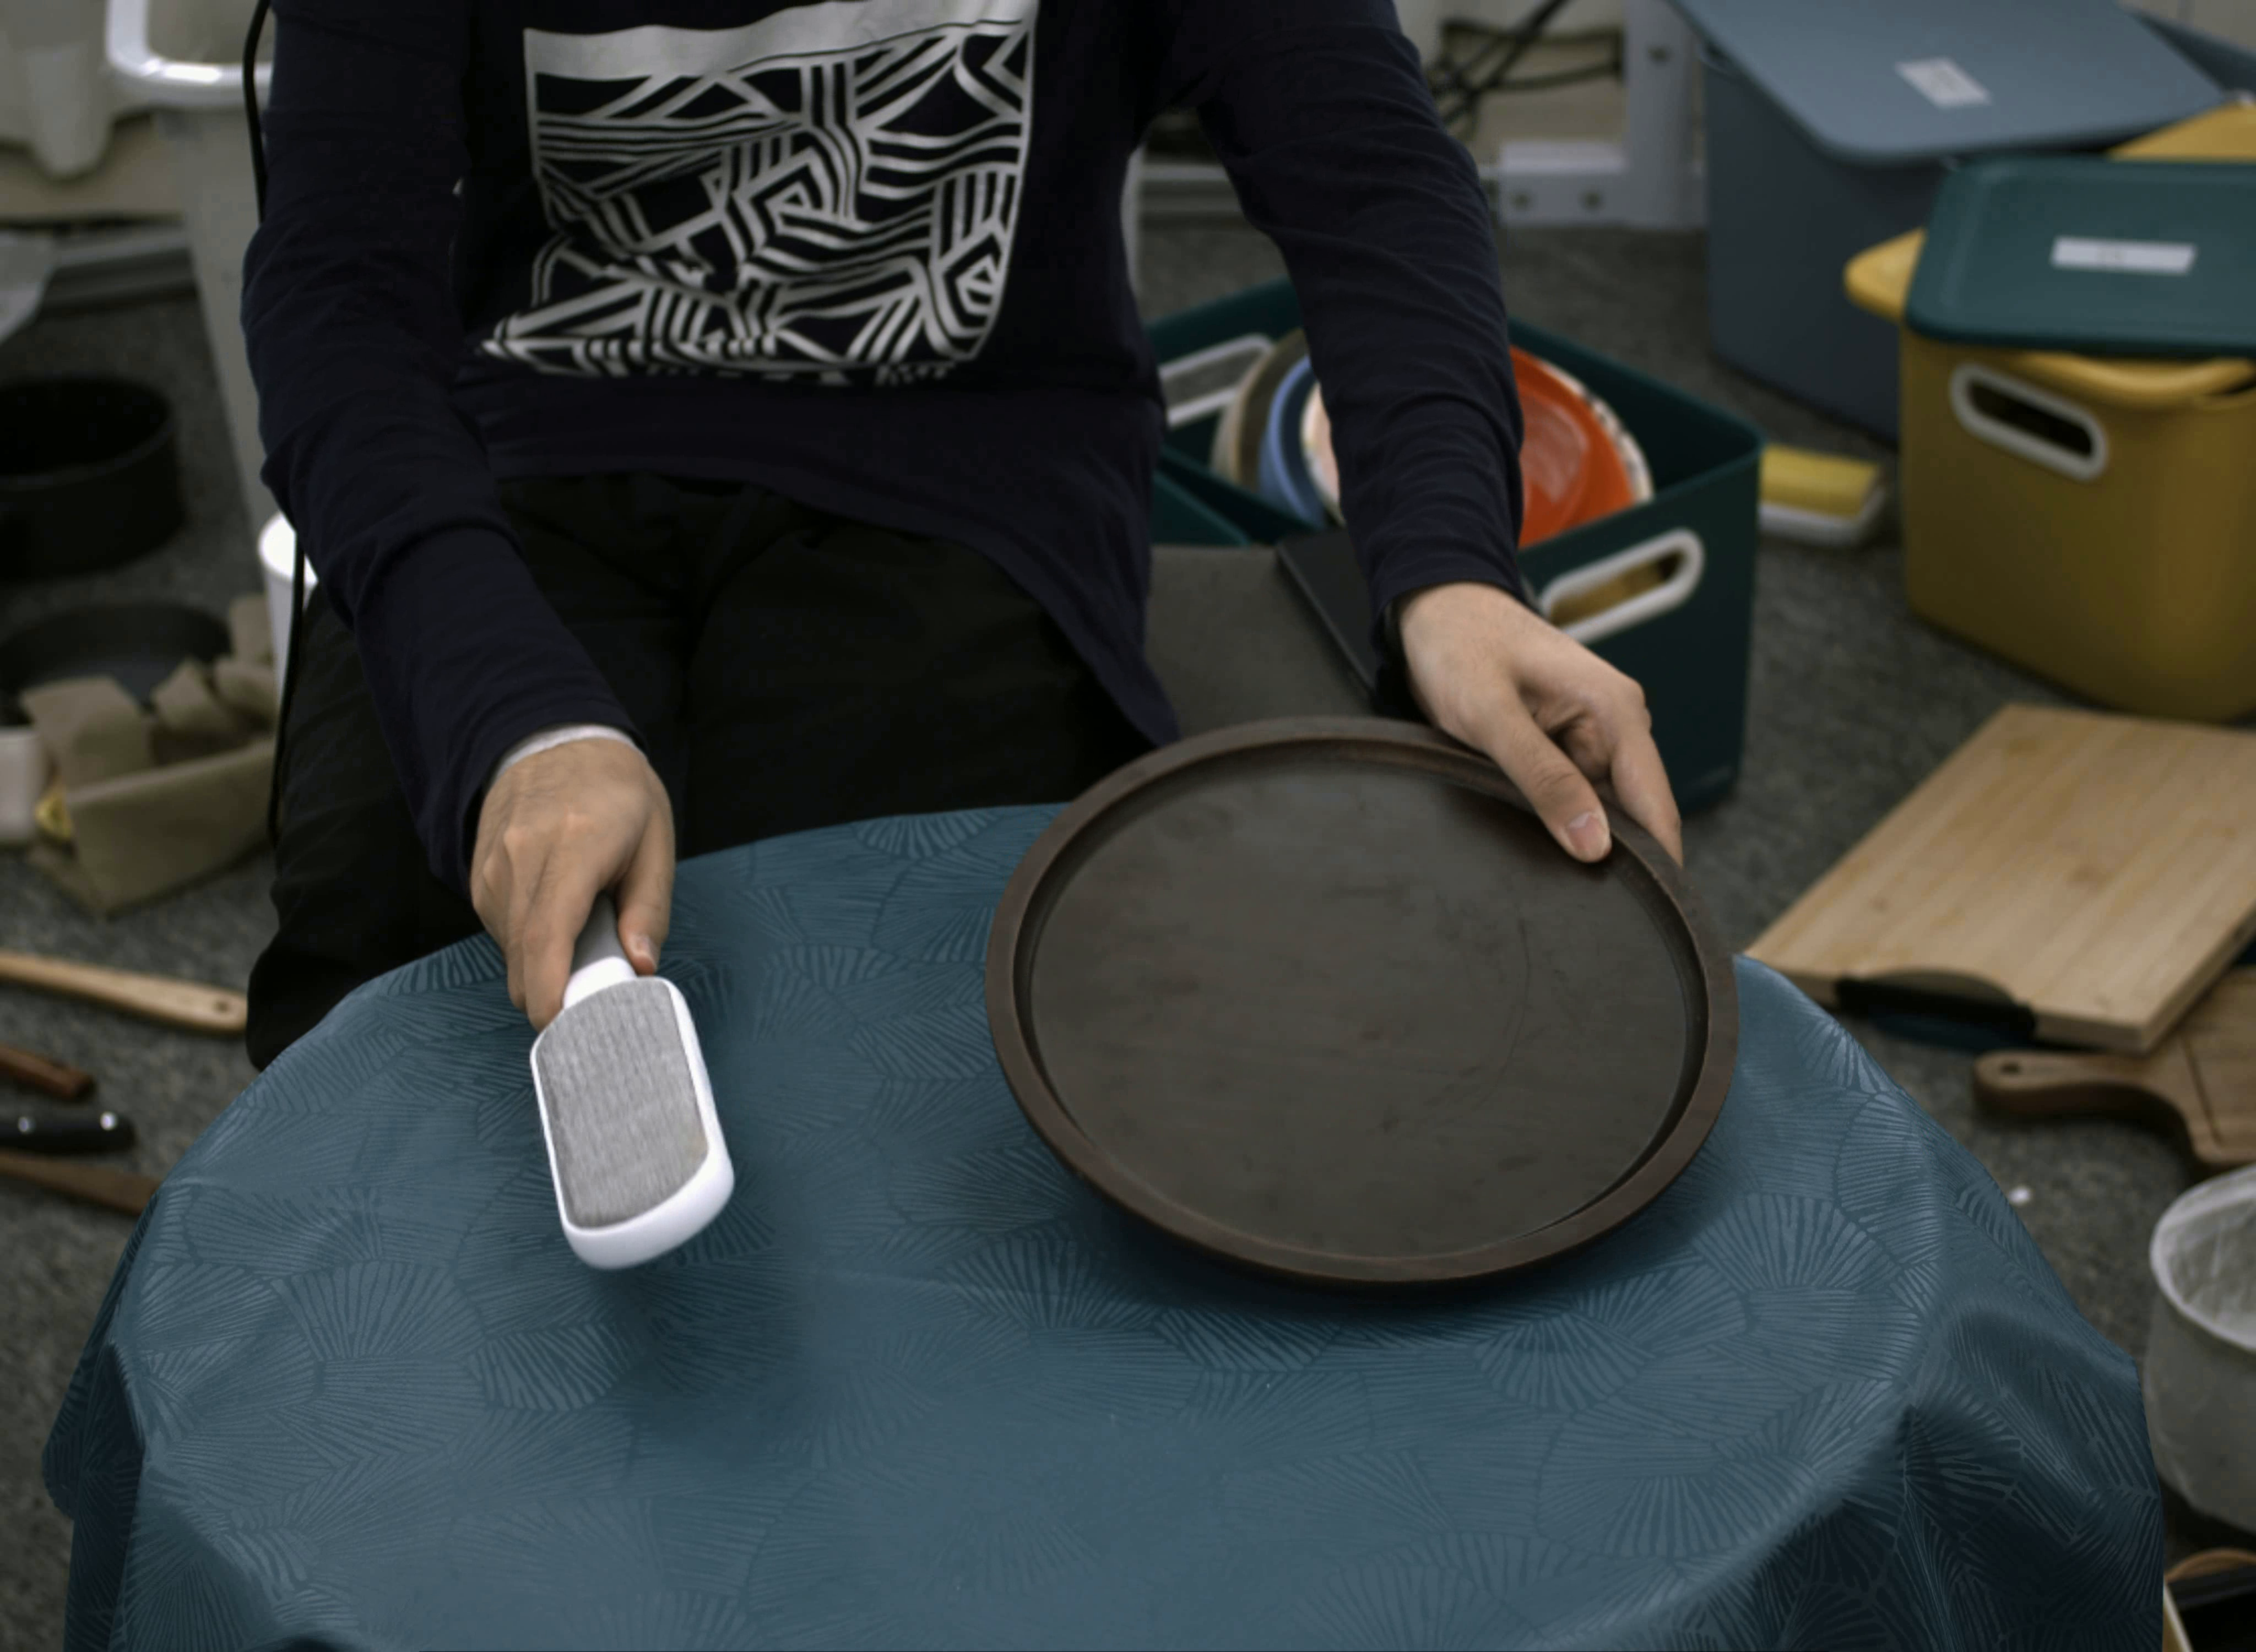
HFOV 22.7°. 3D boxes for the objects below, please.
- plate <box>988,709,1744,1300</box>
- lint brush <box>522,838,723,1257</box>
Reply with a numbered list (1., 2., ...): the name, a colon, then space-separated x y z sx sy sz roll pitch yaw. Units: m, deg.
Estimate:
1. plate: 0.078 0.057 1.870 0.254 0.028 0.260 4 46 -4
2. lint brush: -0.174 0.067 1.873 0.060 0.021 0.312 -30 23 2
